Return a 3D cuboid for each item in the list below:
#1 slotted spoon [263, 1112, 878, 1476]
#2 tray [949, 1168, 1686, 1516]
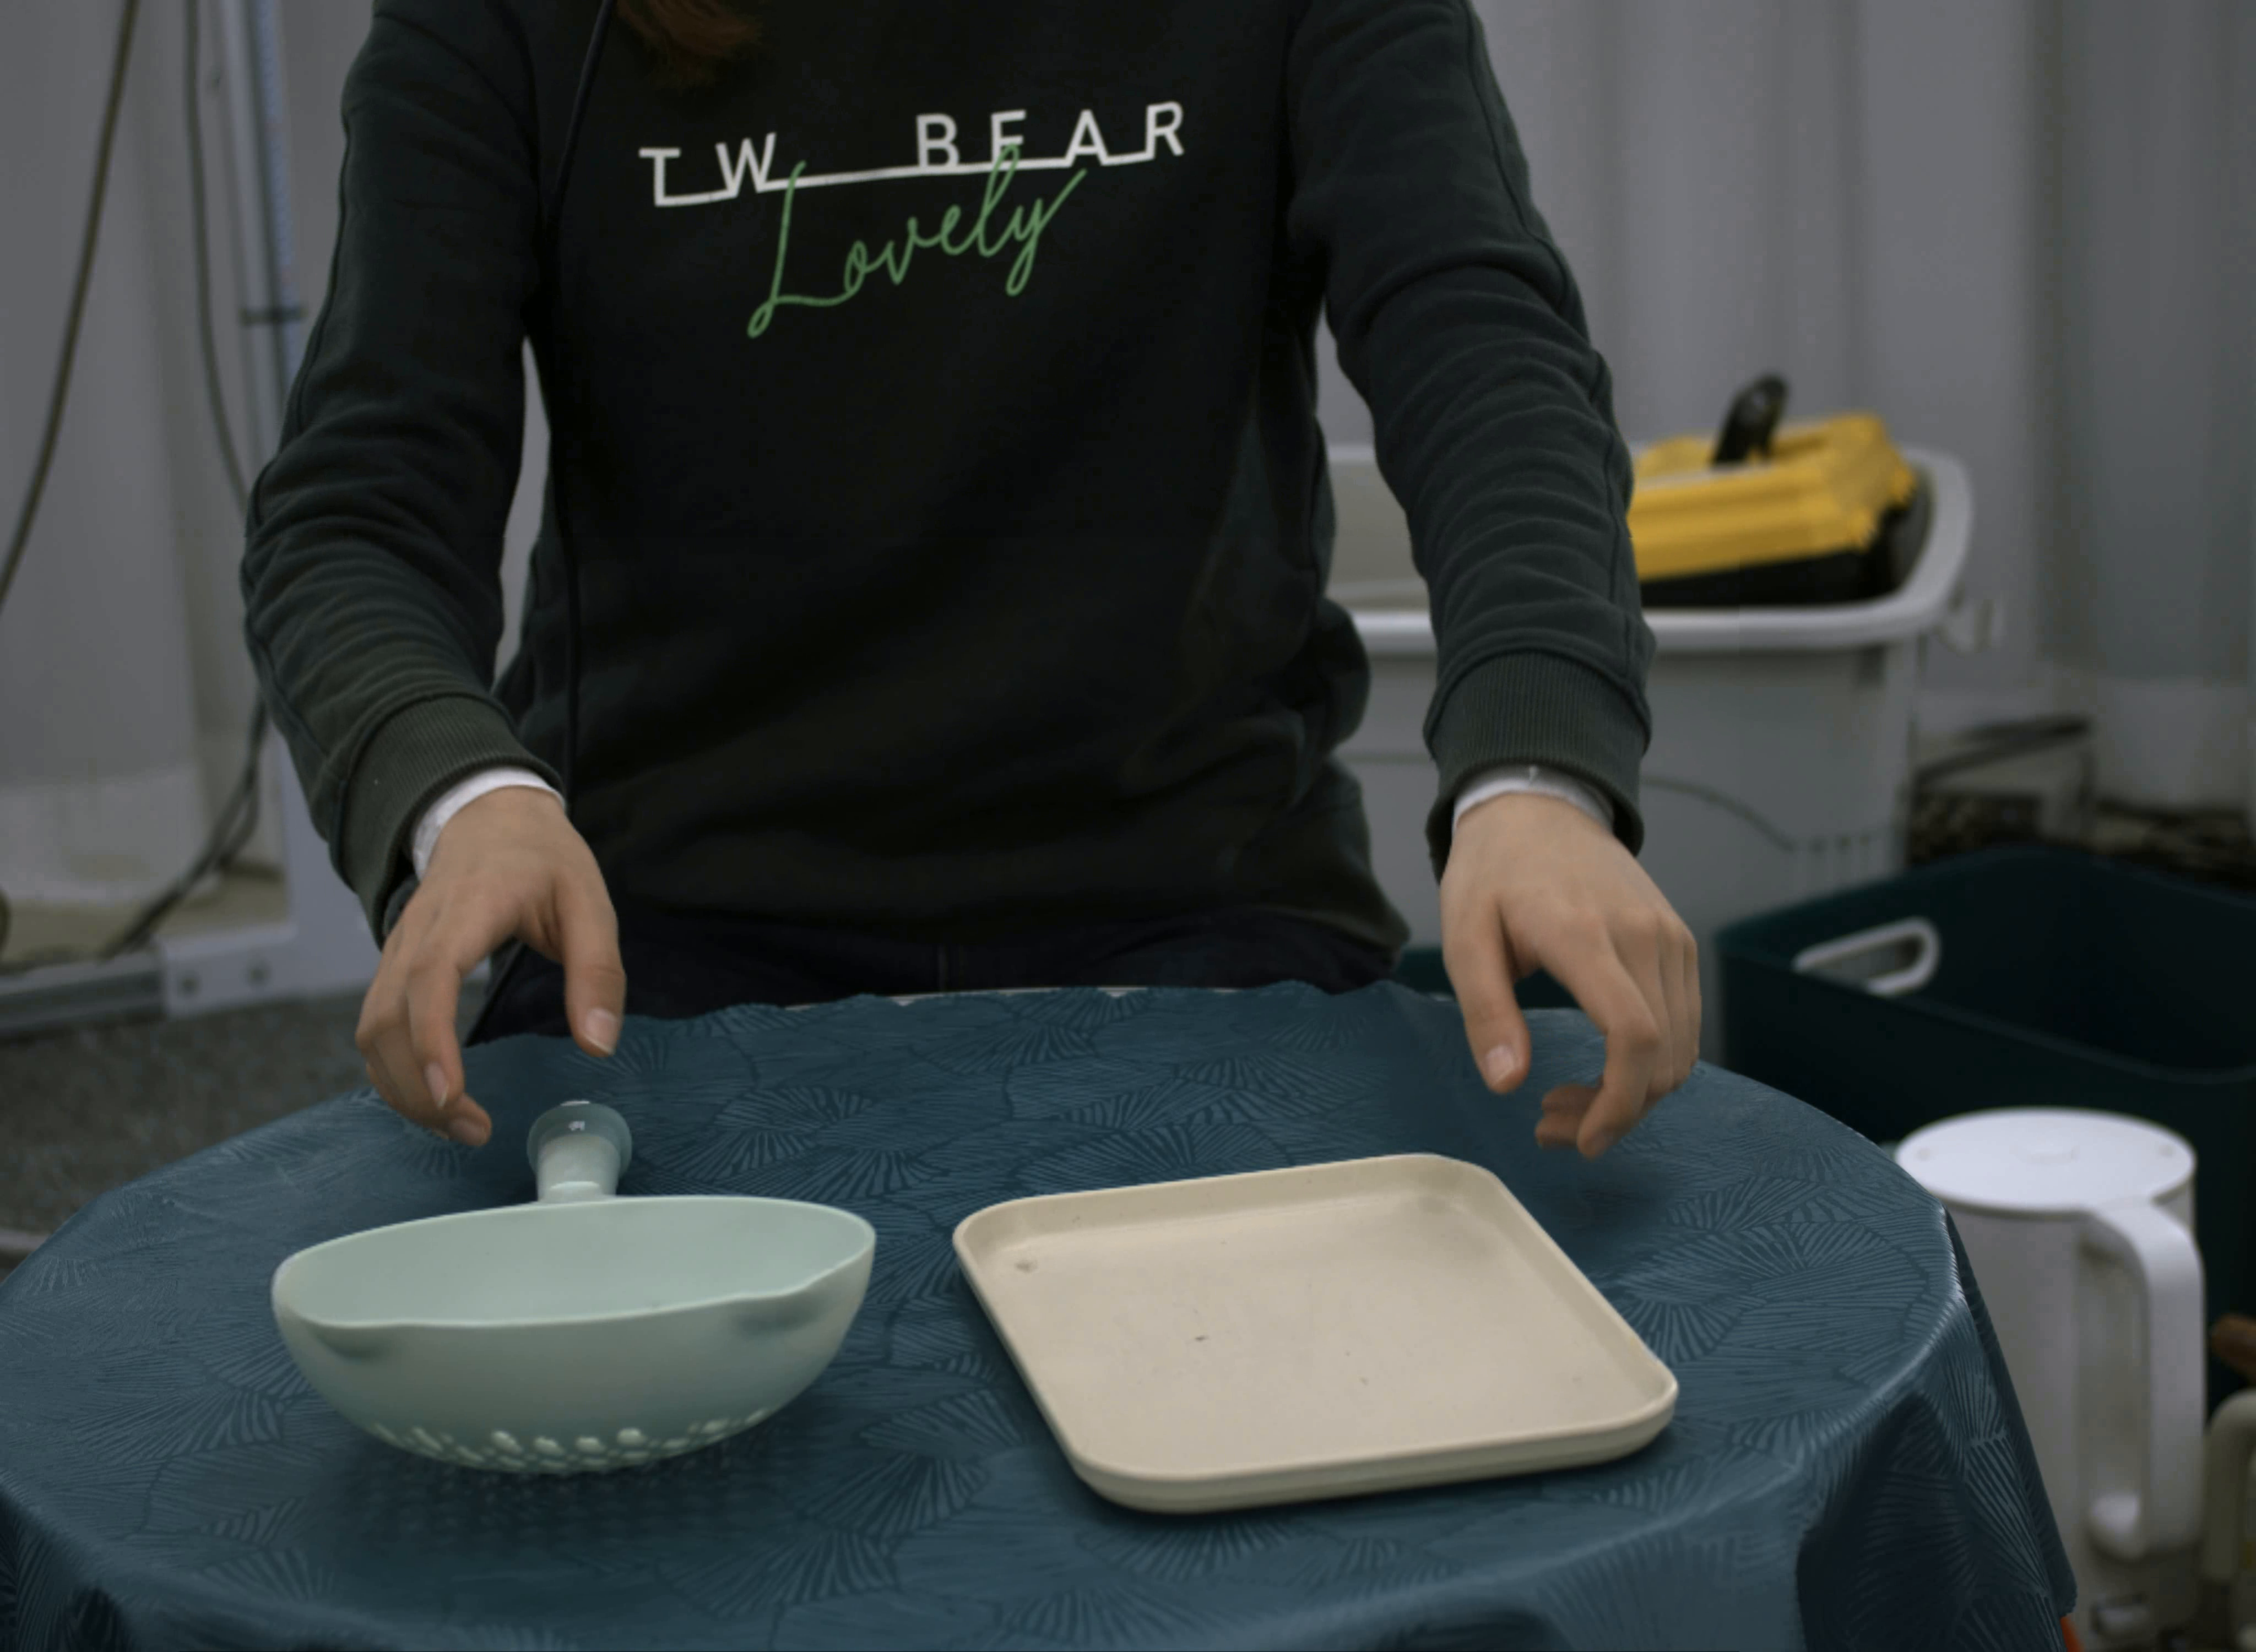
[{"bbox_3d":[-0.161,0.121,1.603,0.168,0.075,0.361,-3,14,-5],"label":"slotted spoon"},{"bbox_3d":[0.049,0.145,1.559,0.170,0.017,0.241,-6,14,-11],"label":"tray"}]
